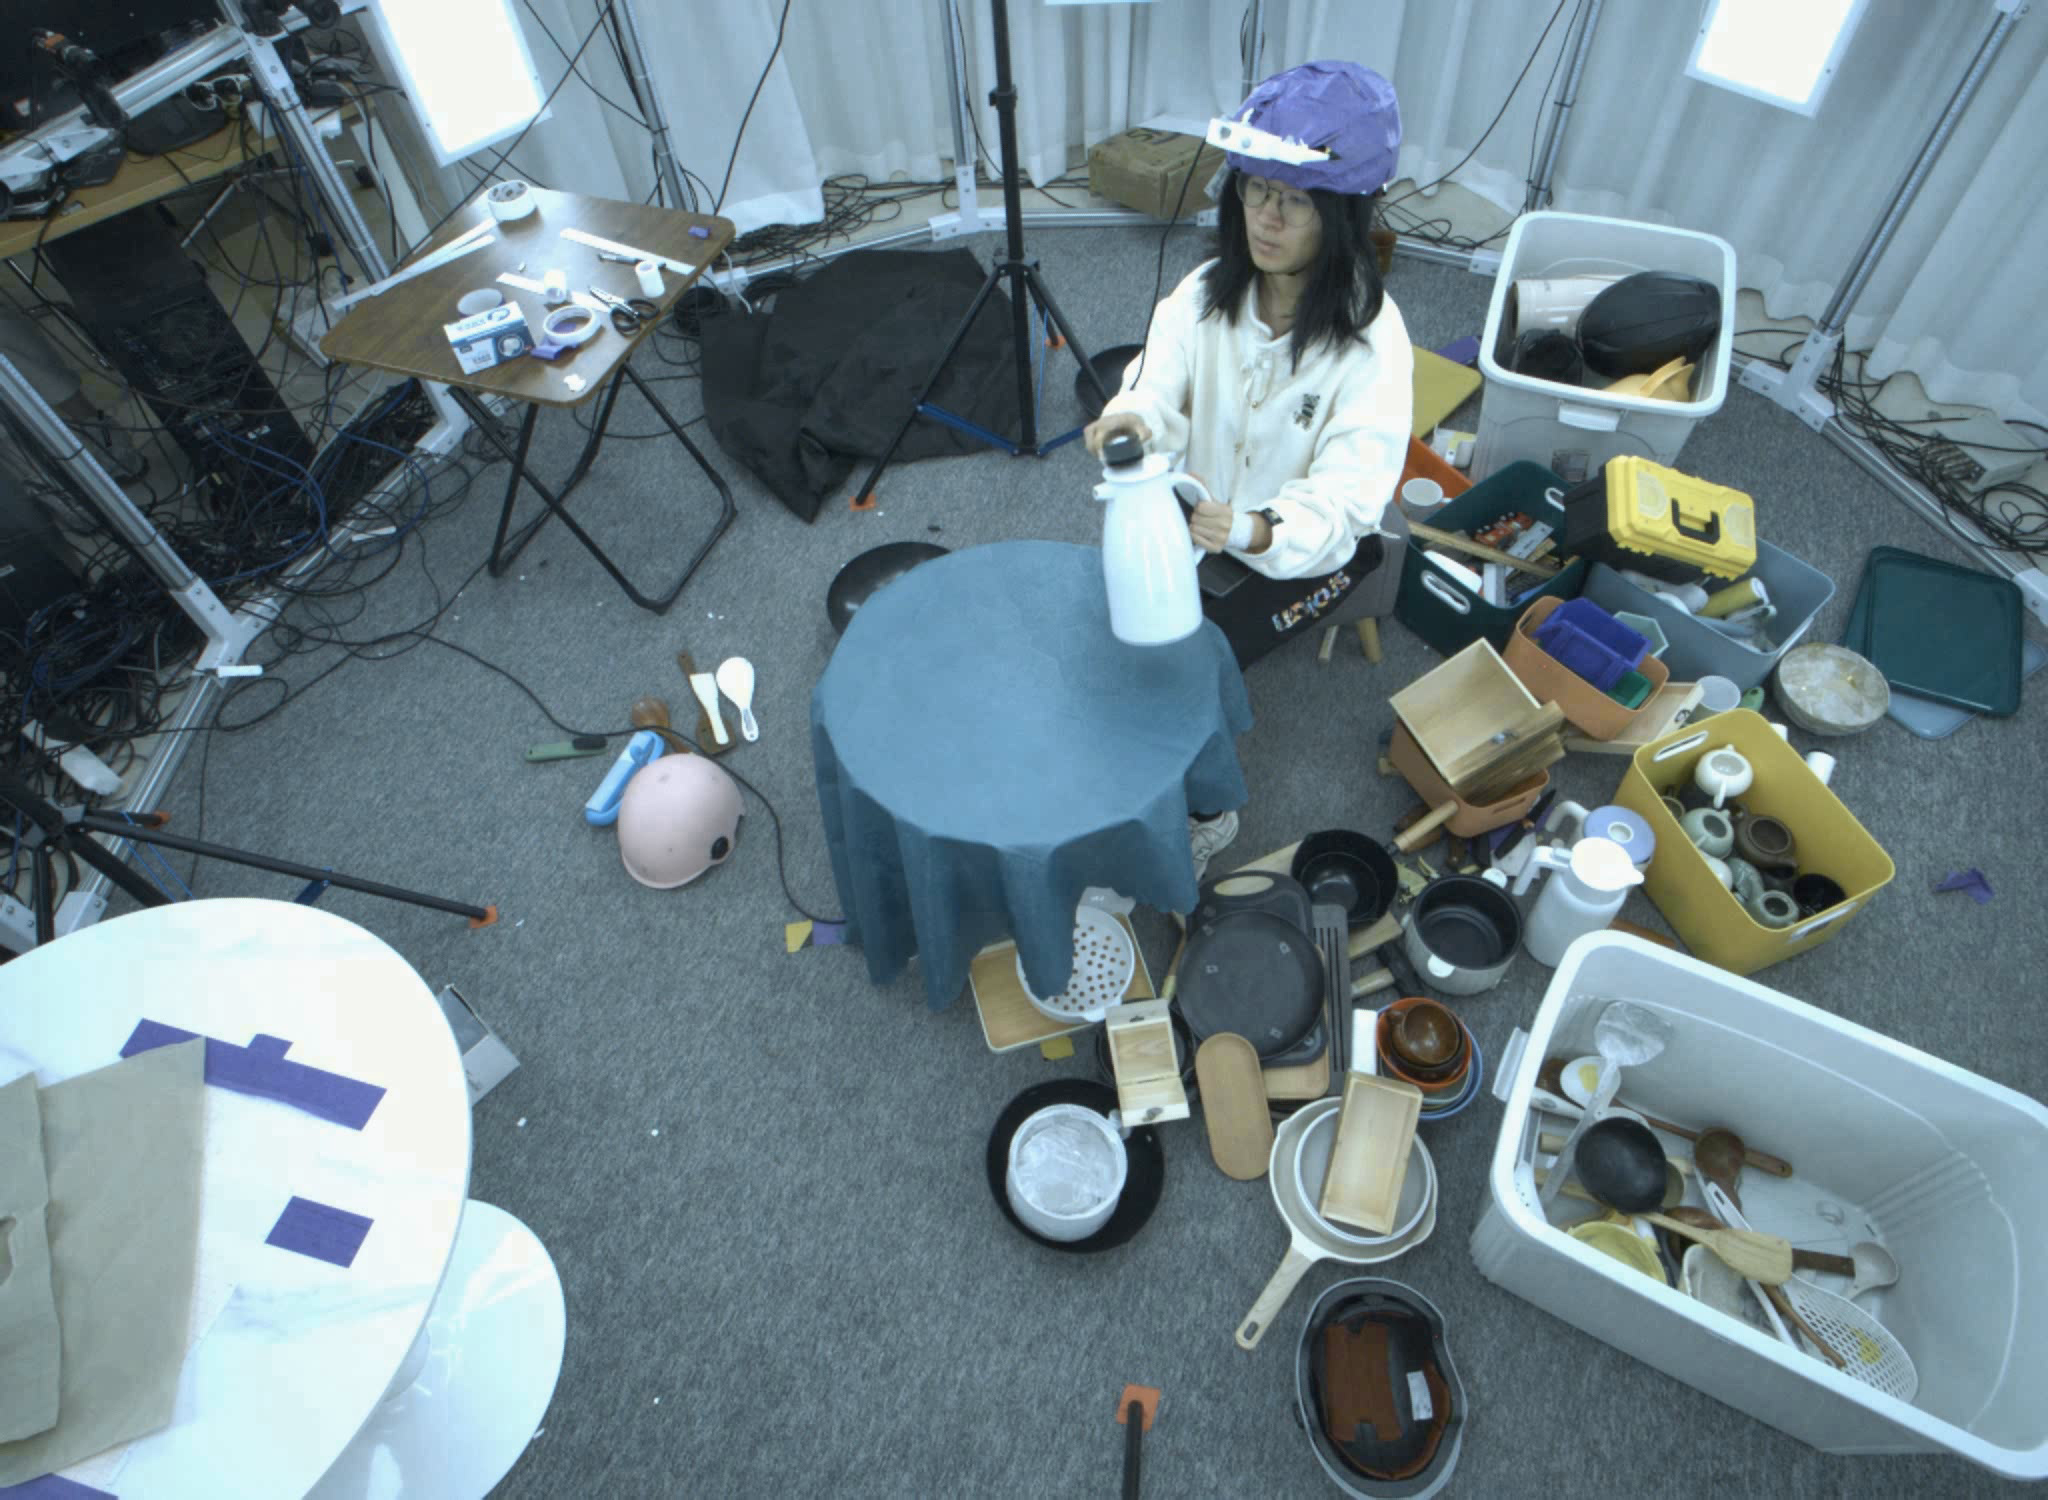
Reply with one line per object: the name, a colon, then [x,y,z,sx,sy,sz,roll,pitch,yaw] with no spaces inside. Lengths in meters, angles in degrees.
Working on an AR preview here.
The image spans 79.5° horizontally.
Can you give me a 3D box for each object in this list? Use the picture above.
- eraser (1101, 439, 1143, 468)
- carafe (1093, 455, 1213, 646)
eraser: [0.132,-0.409,1.674,0.053,0.031,0.125,-11,16,6]
carafe: [0.188,-0.291,1.723,0.169,0.252,0.130,-19,34,-12]
